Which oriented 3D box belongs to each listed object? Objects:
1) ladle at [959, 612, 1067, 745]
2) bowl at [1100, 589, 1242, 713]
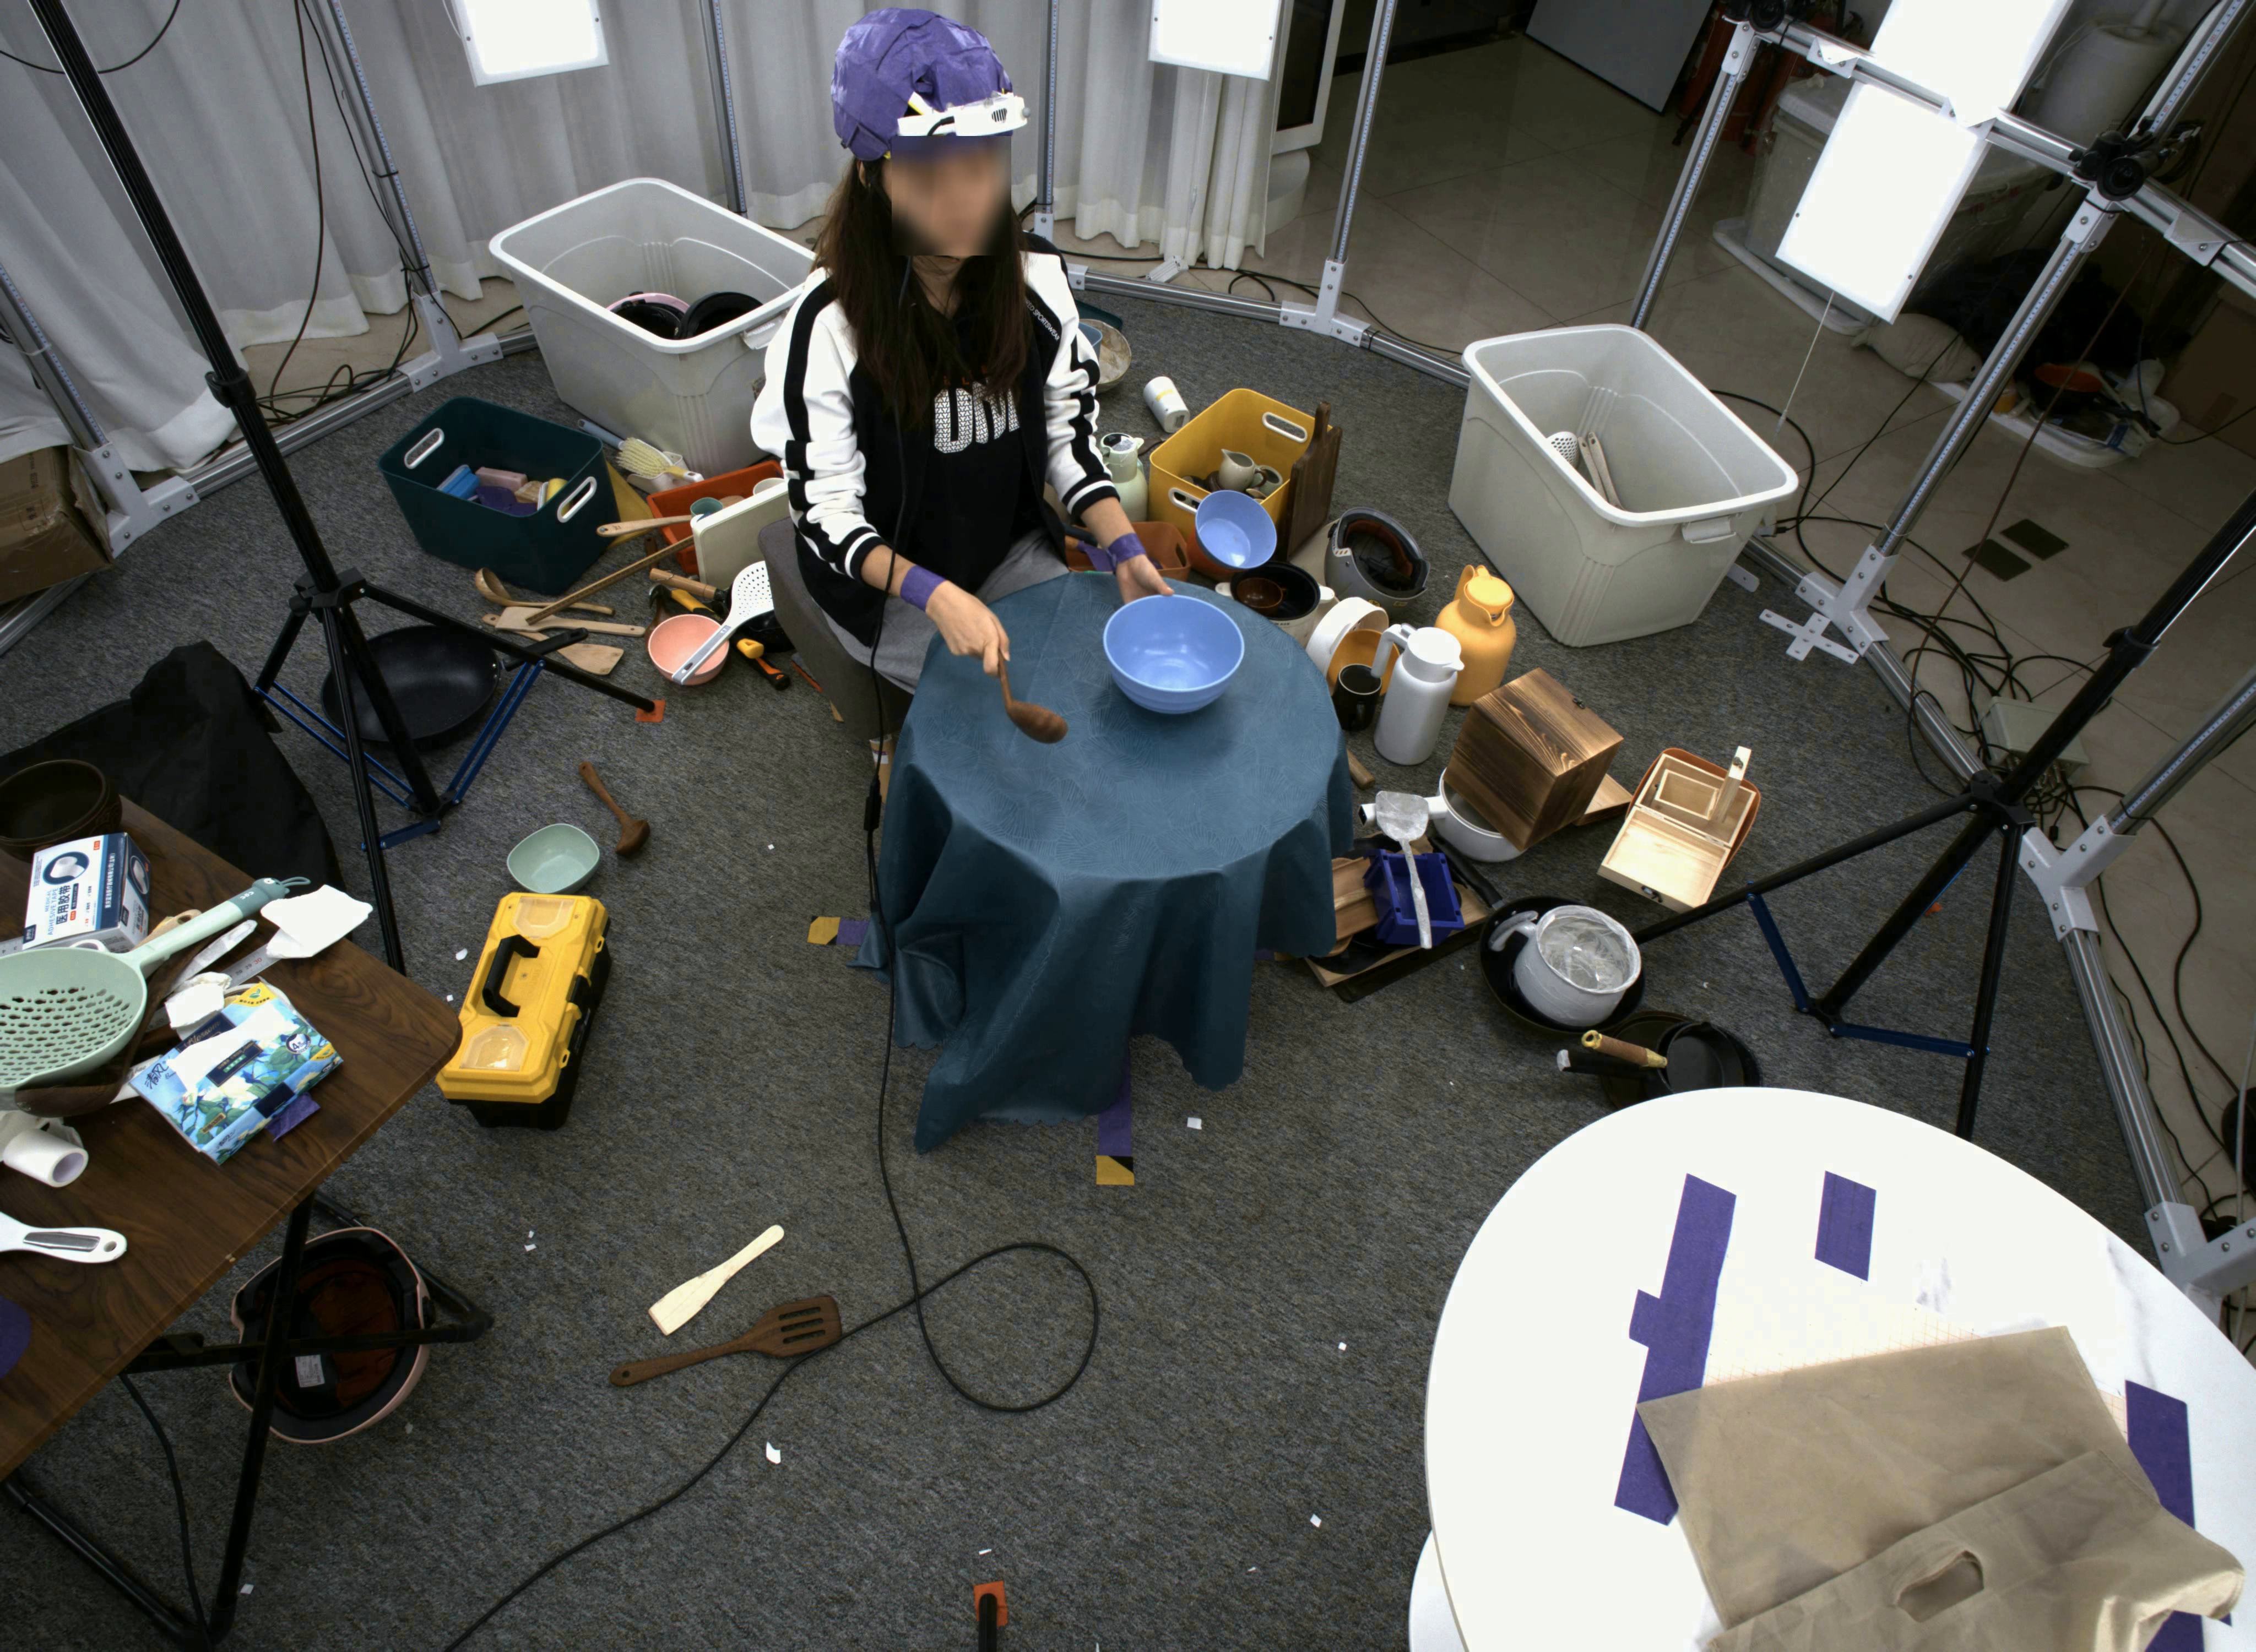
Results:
[{"bbox_3d":[-0.154,-0.205,1.706,0.065,0.075,0.266,-28,56,1],"label":"ladle"},{"bbox_3d":[0.059,-0.233,1.815,0.196,0.093,0.201,1,55,-1],"label":"bowl"}]
